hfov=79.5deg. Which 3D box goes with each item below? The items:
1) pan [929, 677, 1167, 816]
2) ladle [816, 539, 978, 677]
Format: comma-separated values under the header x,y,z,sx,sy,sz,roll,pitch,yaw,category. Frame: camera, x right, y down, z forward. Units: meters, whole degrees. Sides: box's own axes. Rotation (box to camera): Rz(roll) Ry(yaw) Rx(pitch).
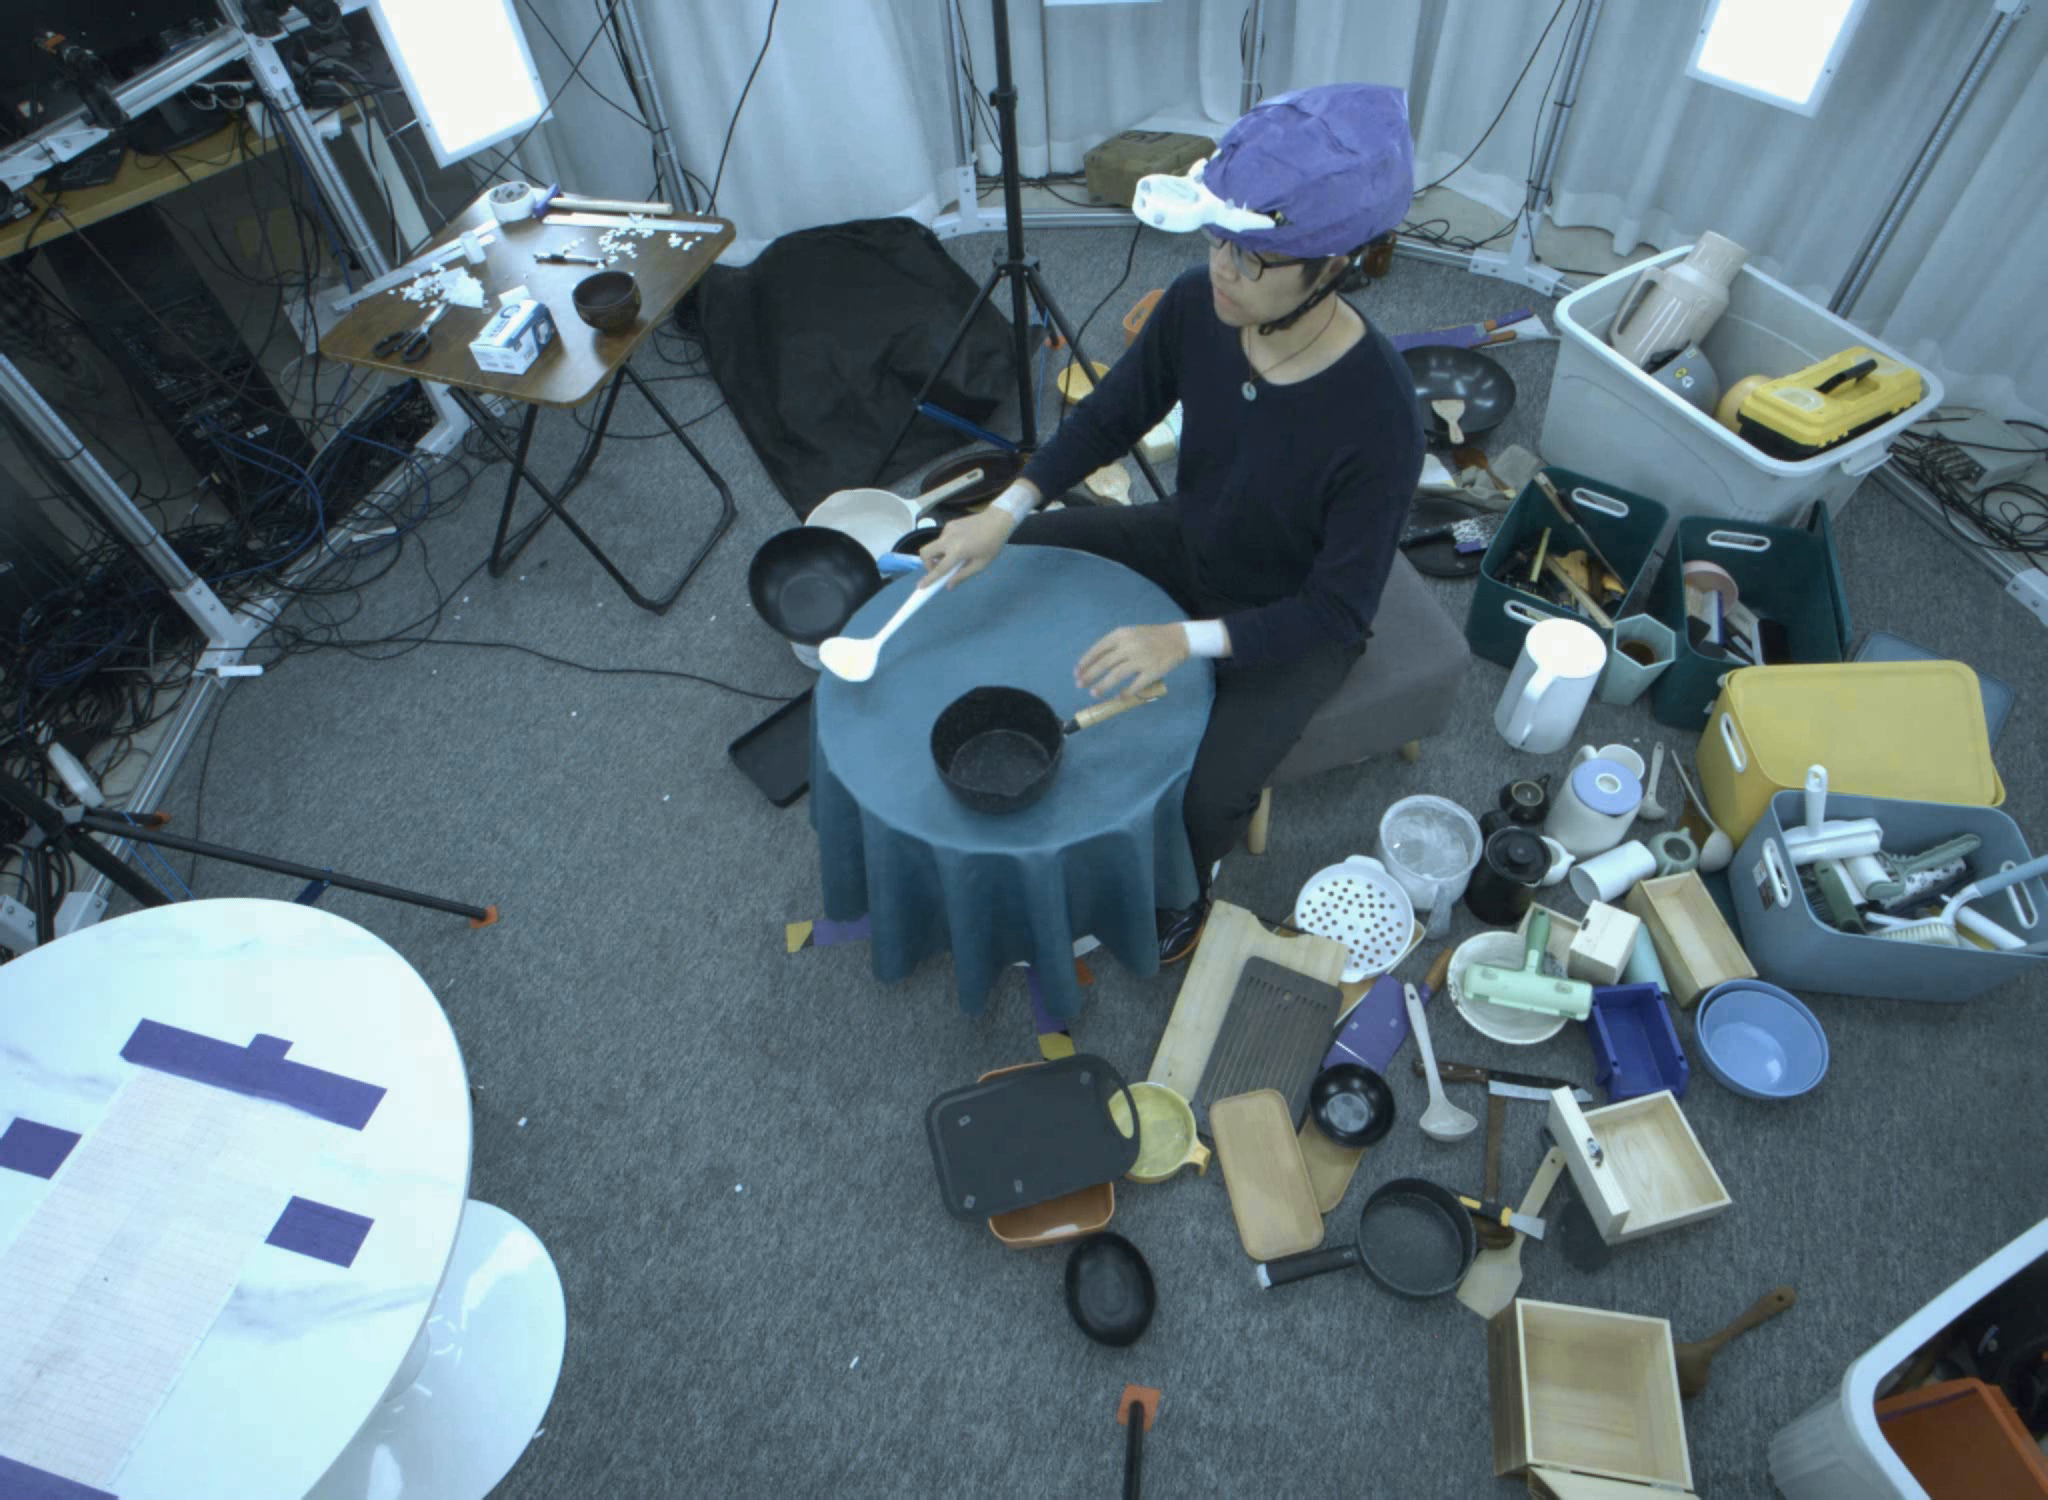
x,y,z,sx,sy,sz,roll,pitch,yaw,category
0.038,-0.022,1.735,0.344,0.109,0.204,-17,55,-8,pan
-0.187,-0.218,1.840,0.089,0.071,0.293,41,80,23,ladle
